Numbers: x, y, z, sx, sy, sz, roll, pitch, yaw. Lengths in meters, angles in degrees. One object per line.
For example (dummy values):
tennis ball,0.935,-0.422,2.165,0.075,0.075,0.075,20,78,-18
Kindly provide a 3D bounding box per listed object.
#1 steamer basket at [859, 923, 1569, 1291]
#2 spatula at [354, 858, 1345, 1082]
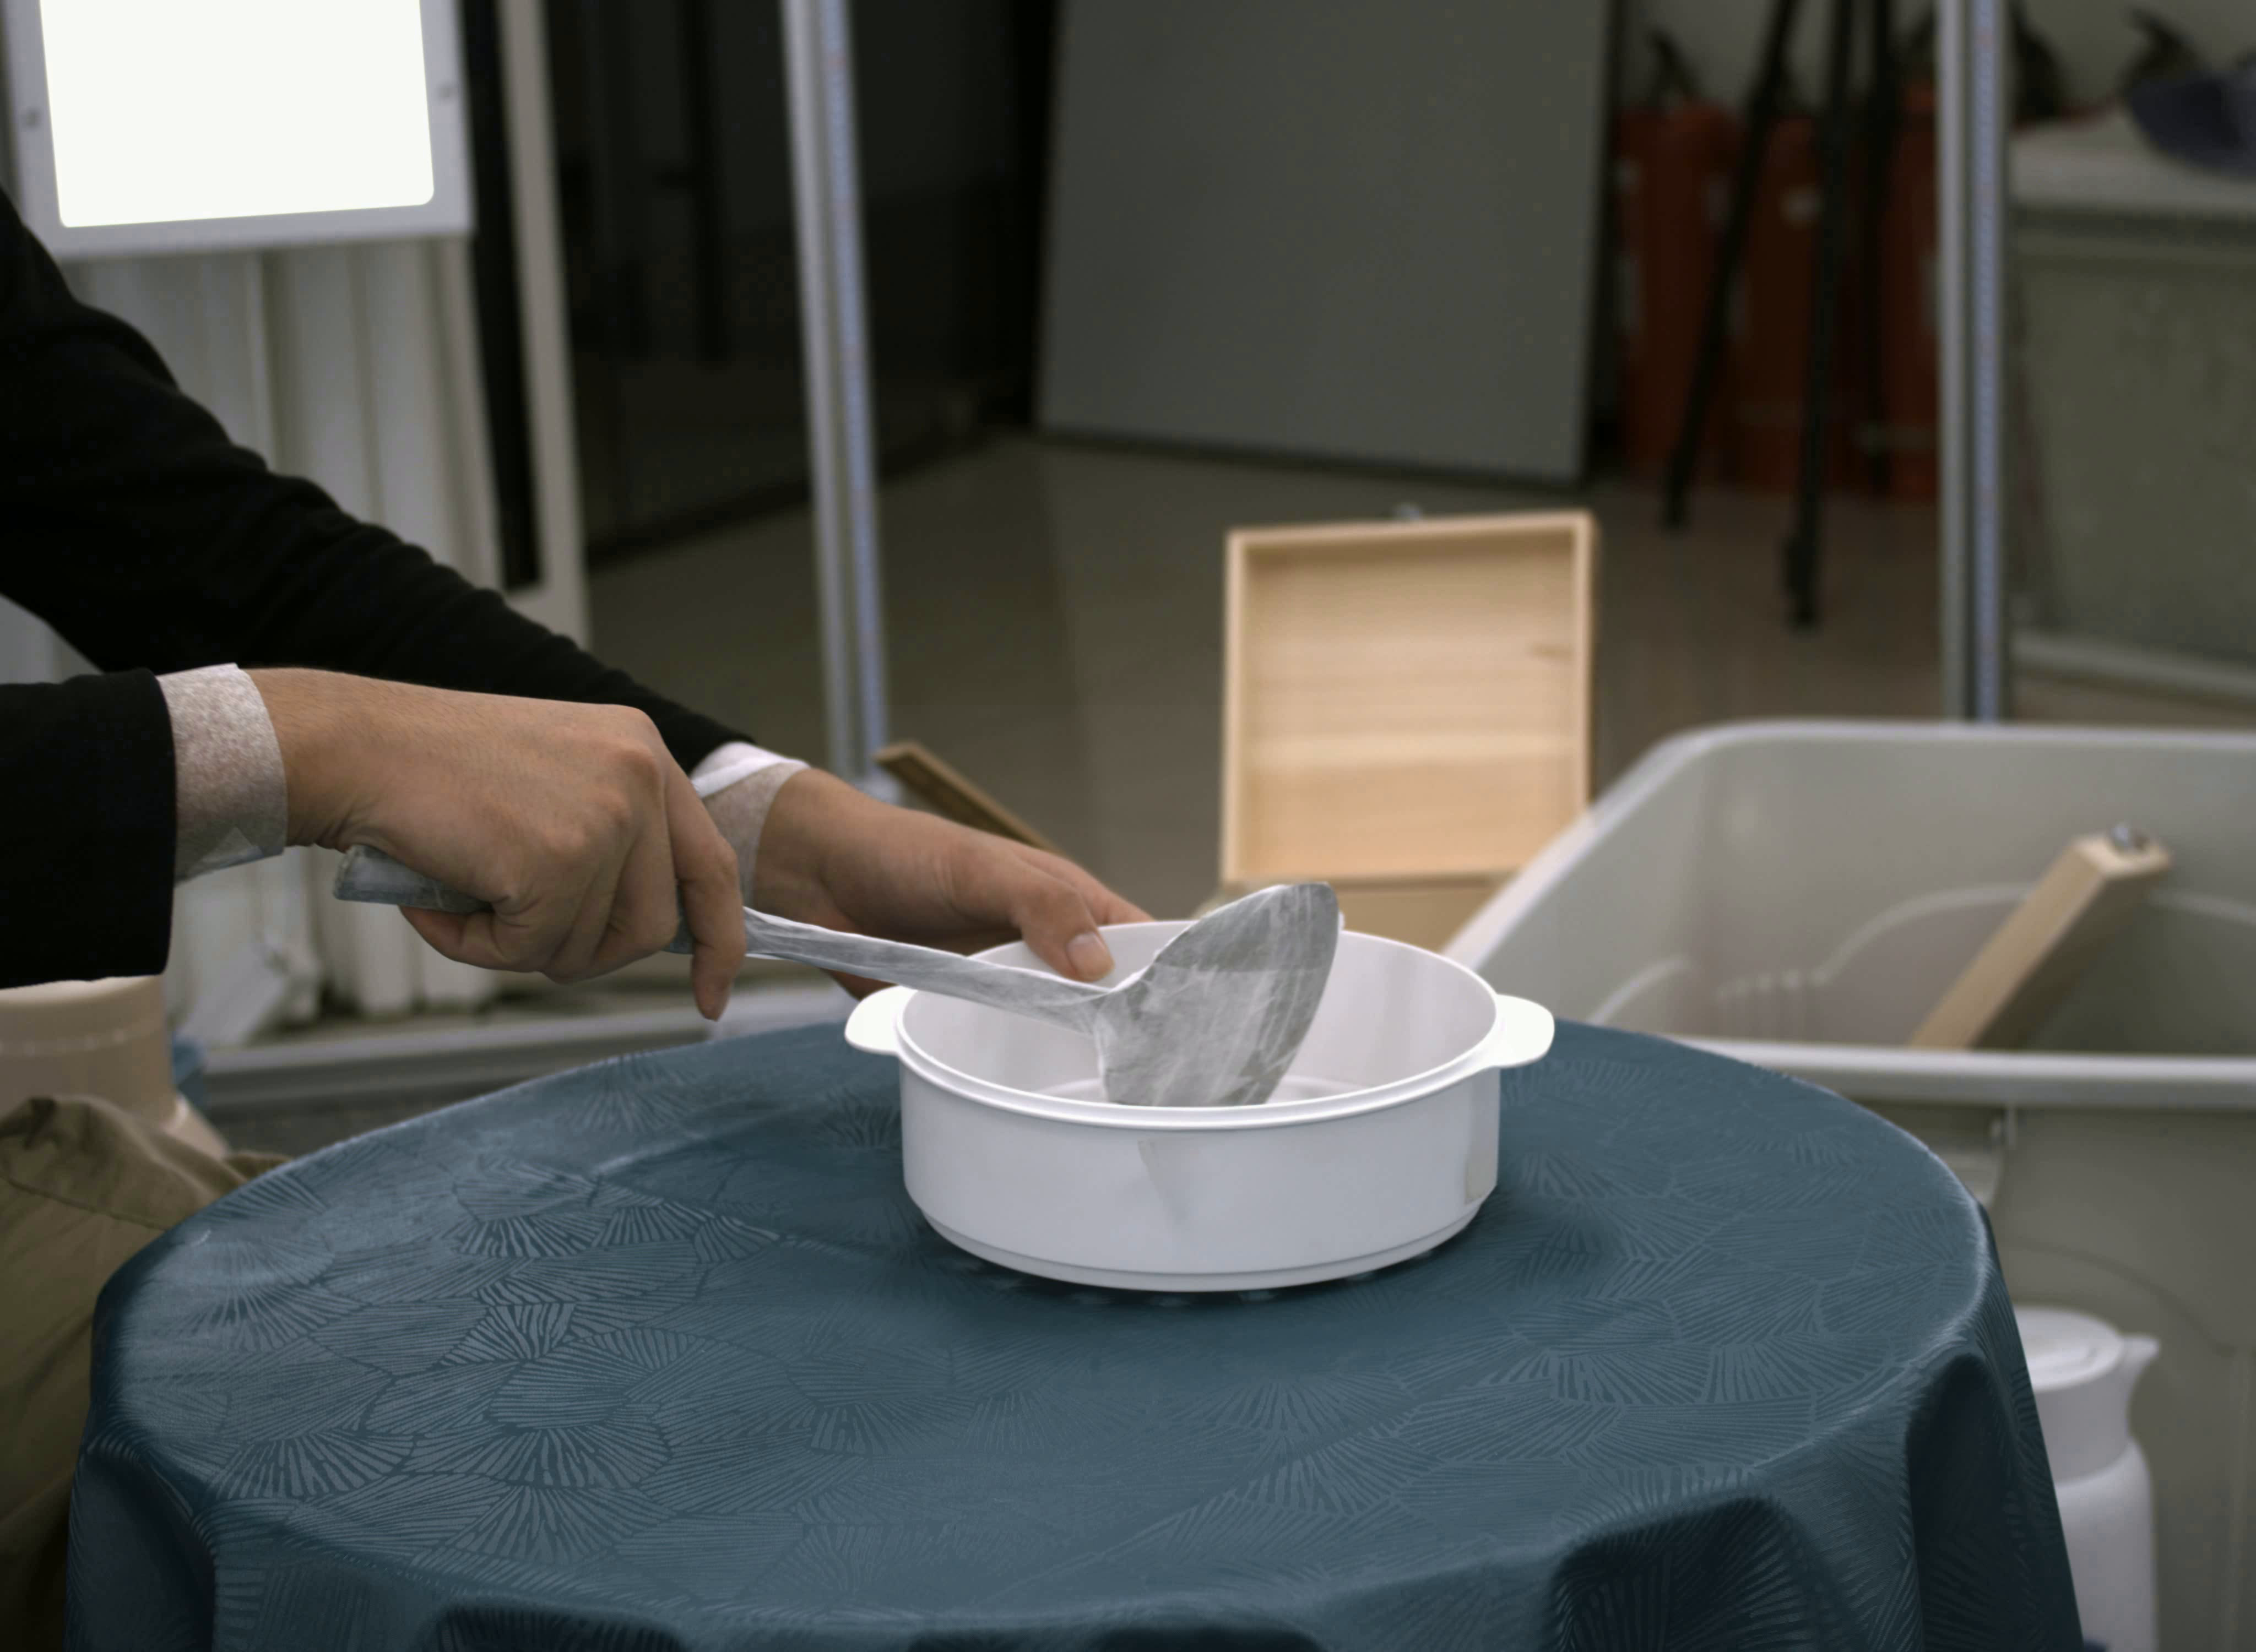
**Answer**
steamer basket,0.028,0.089,1.732,0.229,0.070,0.201,0,15,9
spatula,-0.078,0.040,1.669,0.356,0.100,0.045,12,20,-30
